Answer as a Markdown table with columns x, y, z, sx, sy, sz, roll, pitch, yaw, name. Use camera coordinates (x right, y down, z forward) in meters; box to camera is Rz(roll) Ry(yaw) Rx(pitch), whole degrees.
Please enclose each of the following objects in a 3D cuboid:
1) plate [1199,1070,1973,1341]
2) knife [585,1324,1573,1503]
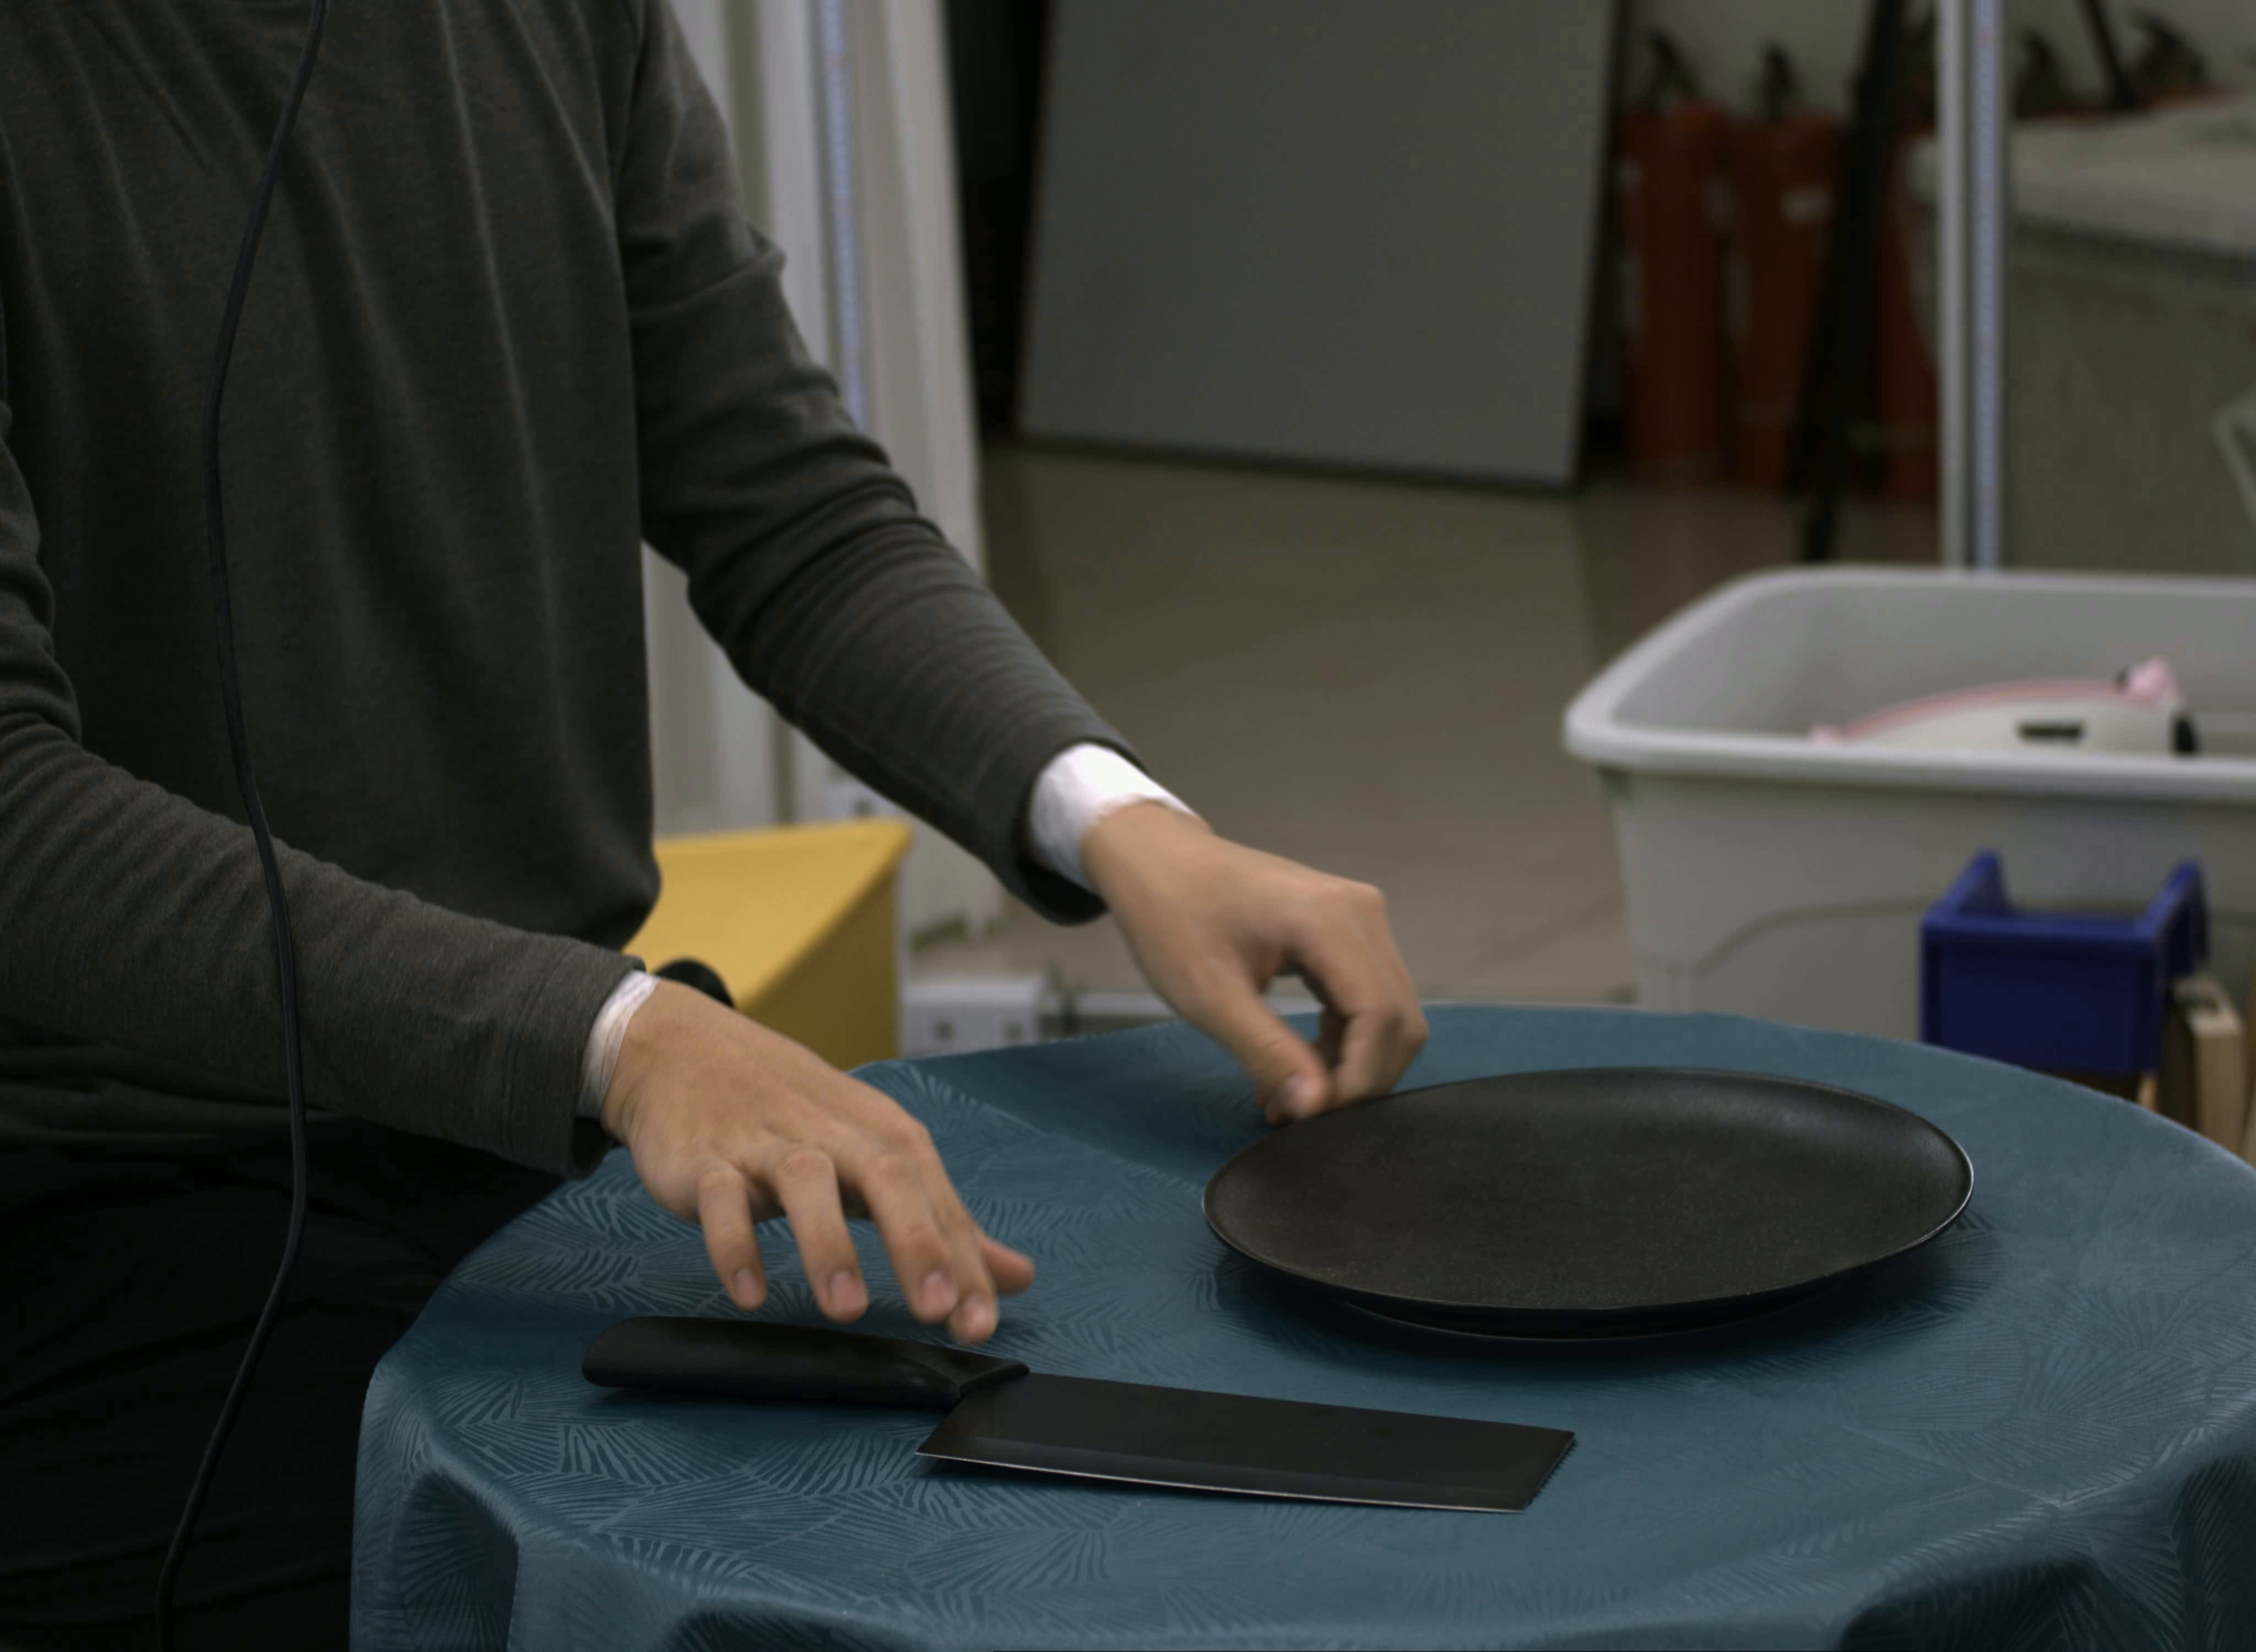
| x | y | z | sx | sy | sz | roll | pitch | yaw | name |
| --- | --- | --- | --- | --- | --- | --- | --- | --- | --- |
| 0.143 | 0.121 | 1.685 | 0.241 | 0.024 | 0.245 | -4 | 13 | 0 | plate |
| -0.020 | 0.170 | 1.551 | 0.303 | 0.021 | 0.080 | 4 | 16 | 25 | knife |
